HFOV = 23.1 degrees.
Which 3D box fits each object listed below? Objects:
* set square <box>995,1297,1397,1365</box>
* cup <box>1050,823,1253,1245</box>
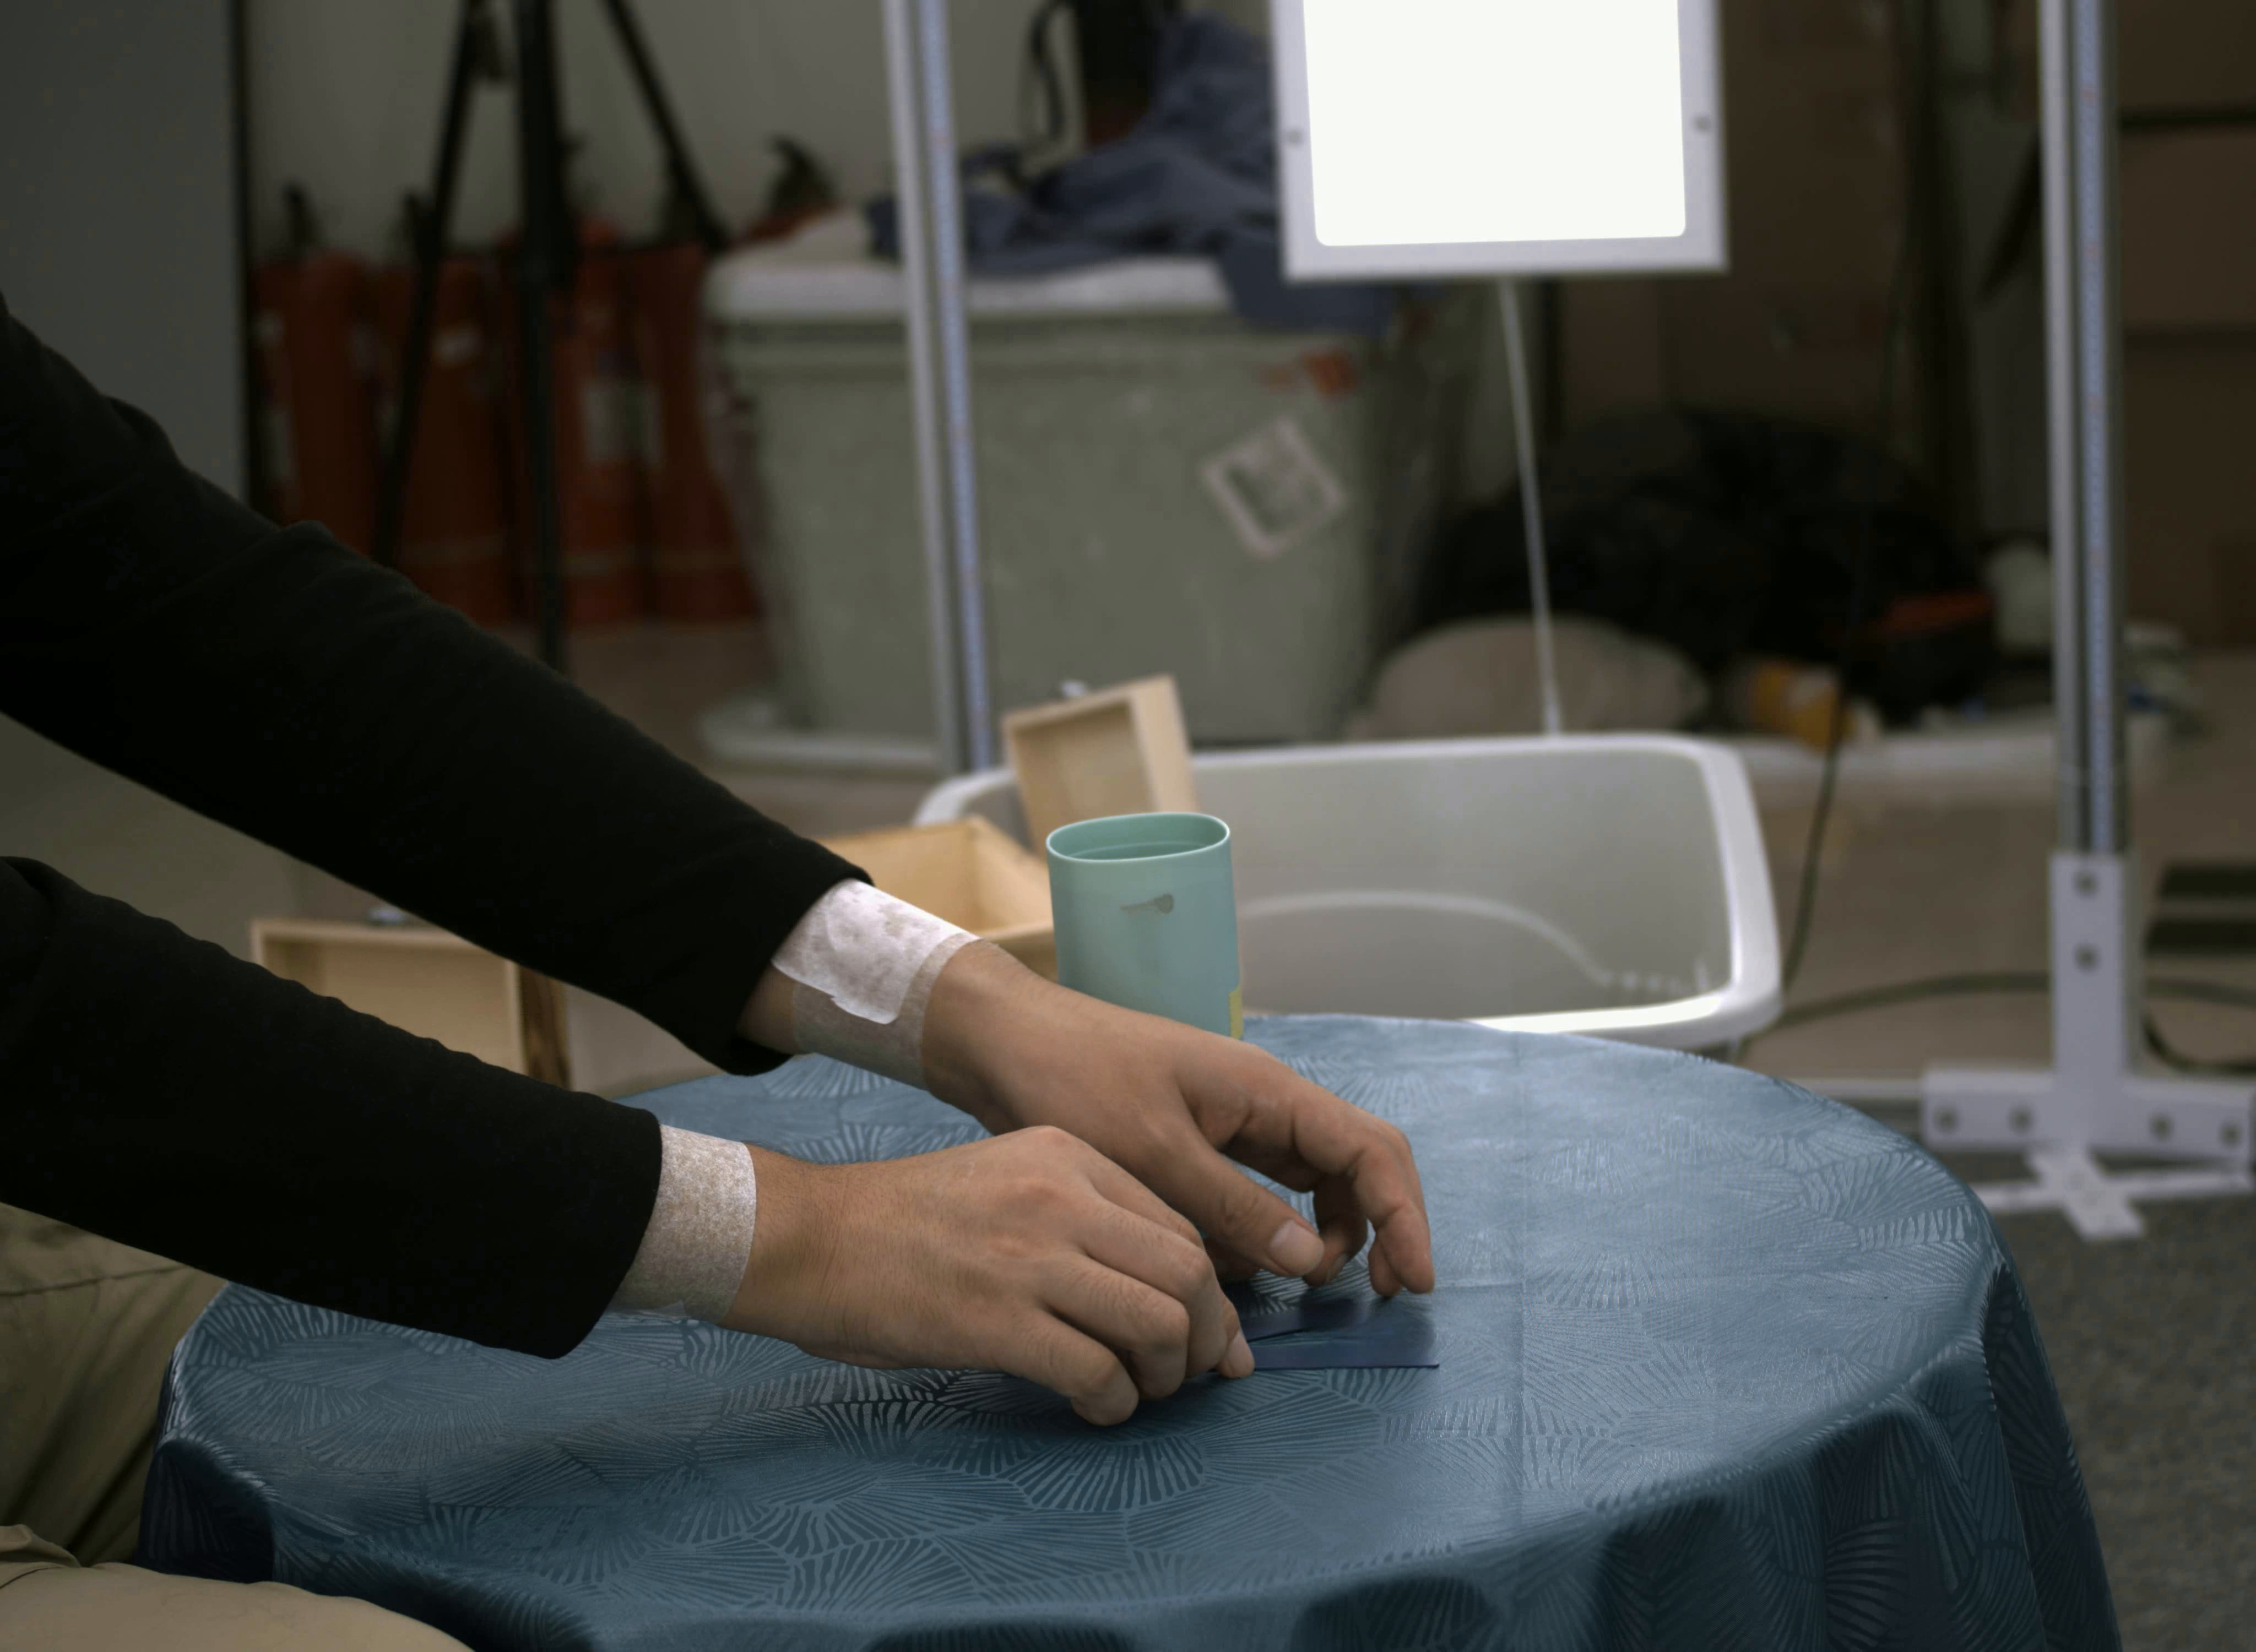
[{"bbox_3d":[0.026,0.157,1.747,0.133,0.006,0.060,0,16,16],"label":"set square"},{"bbox_3d":[0.007,0.070,1.867,0.066,0.133,0.066,-4,14,0],"label":"cup"}]
